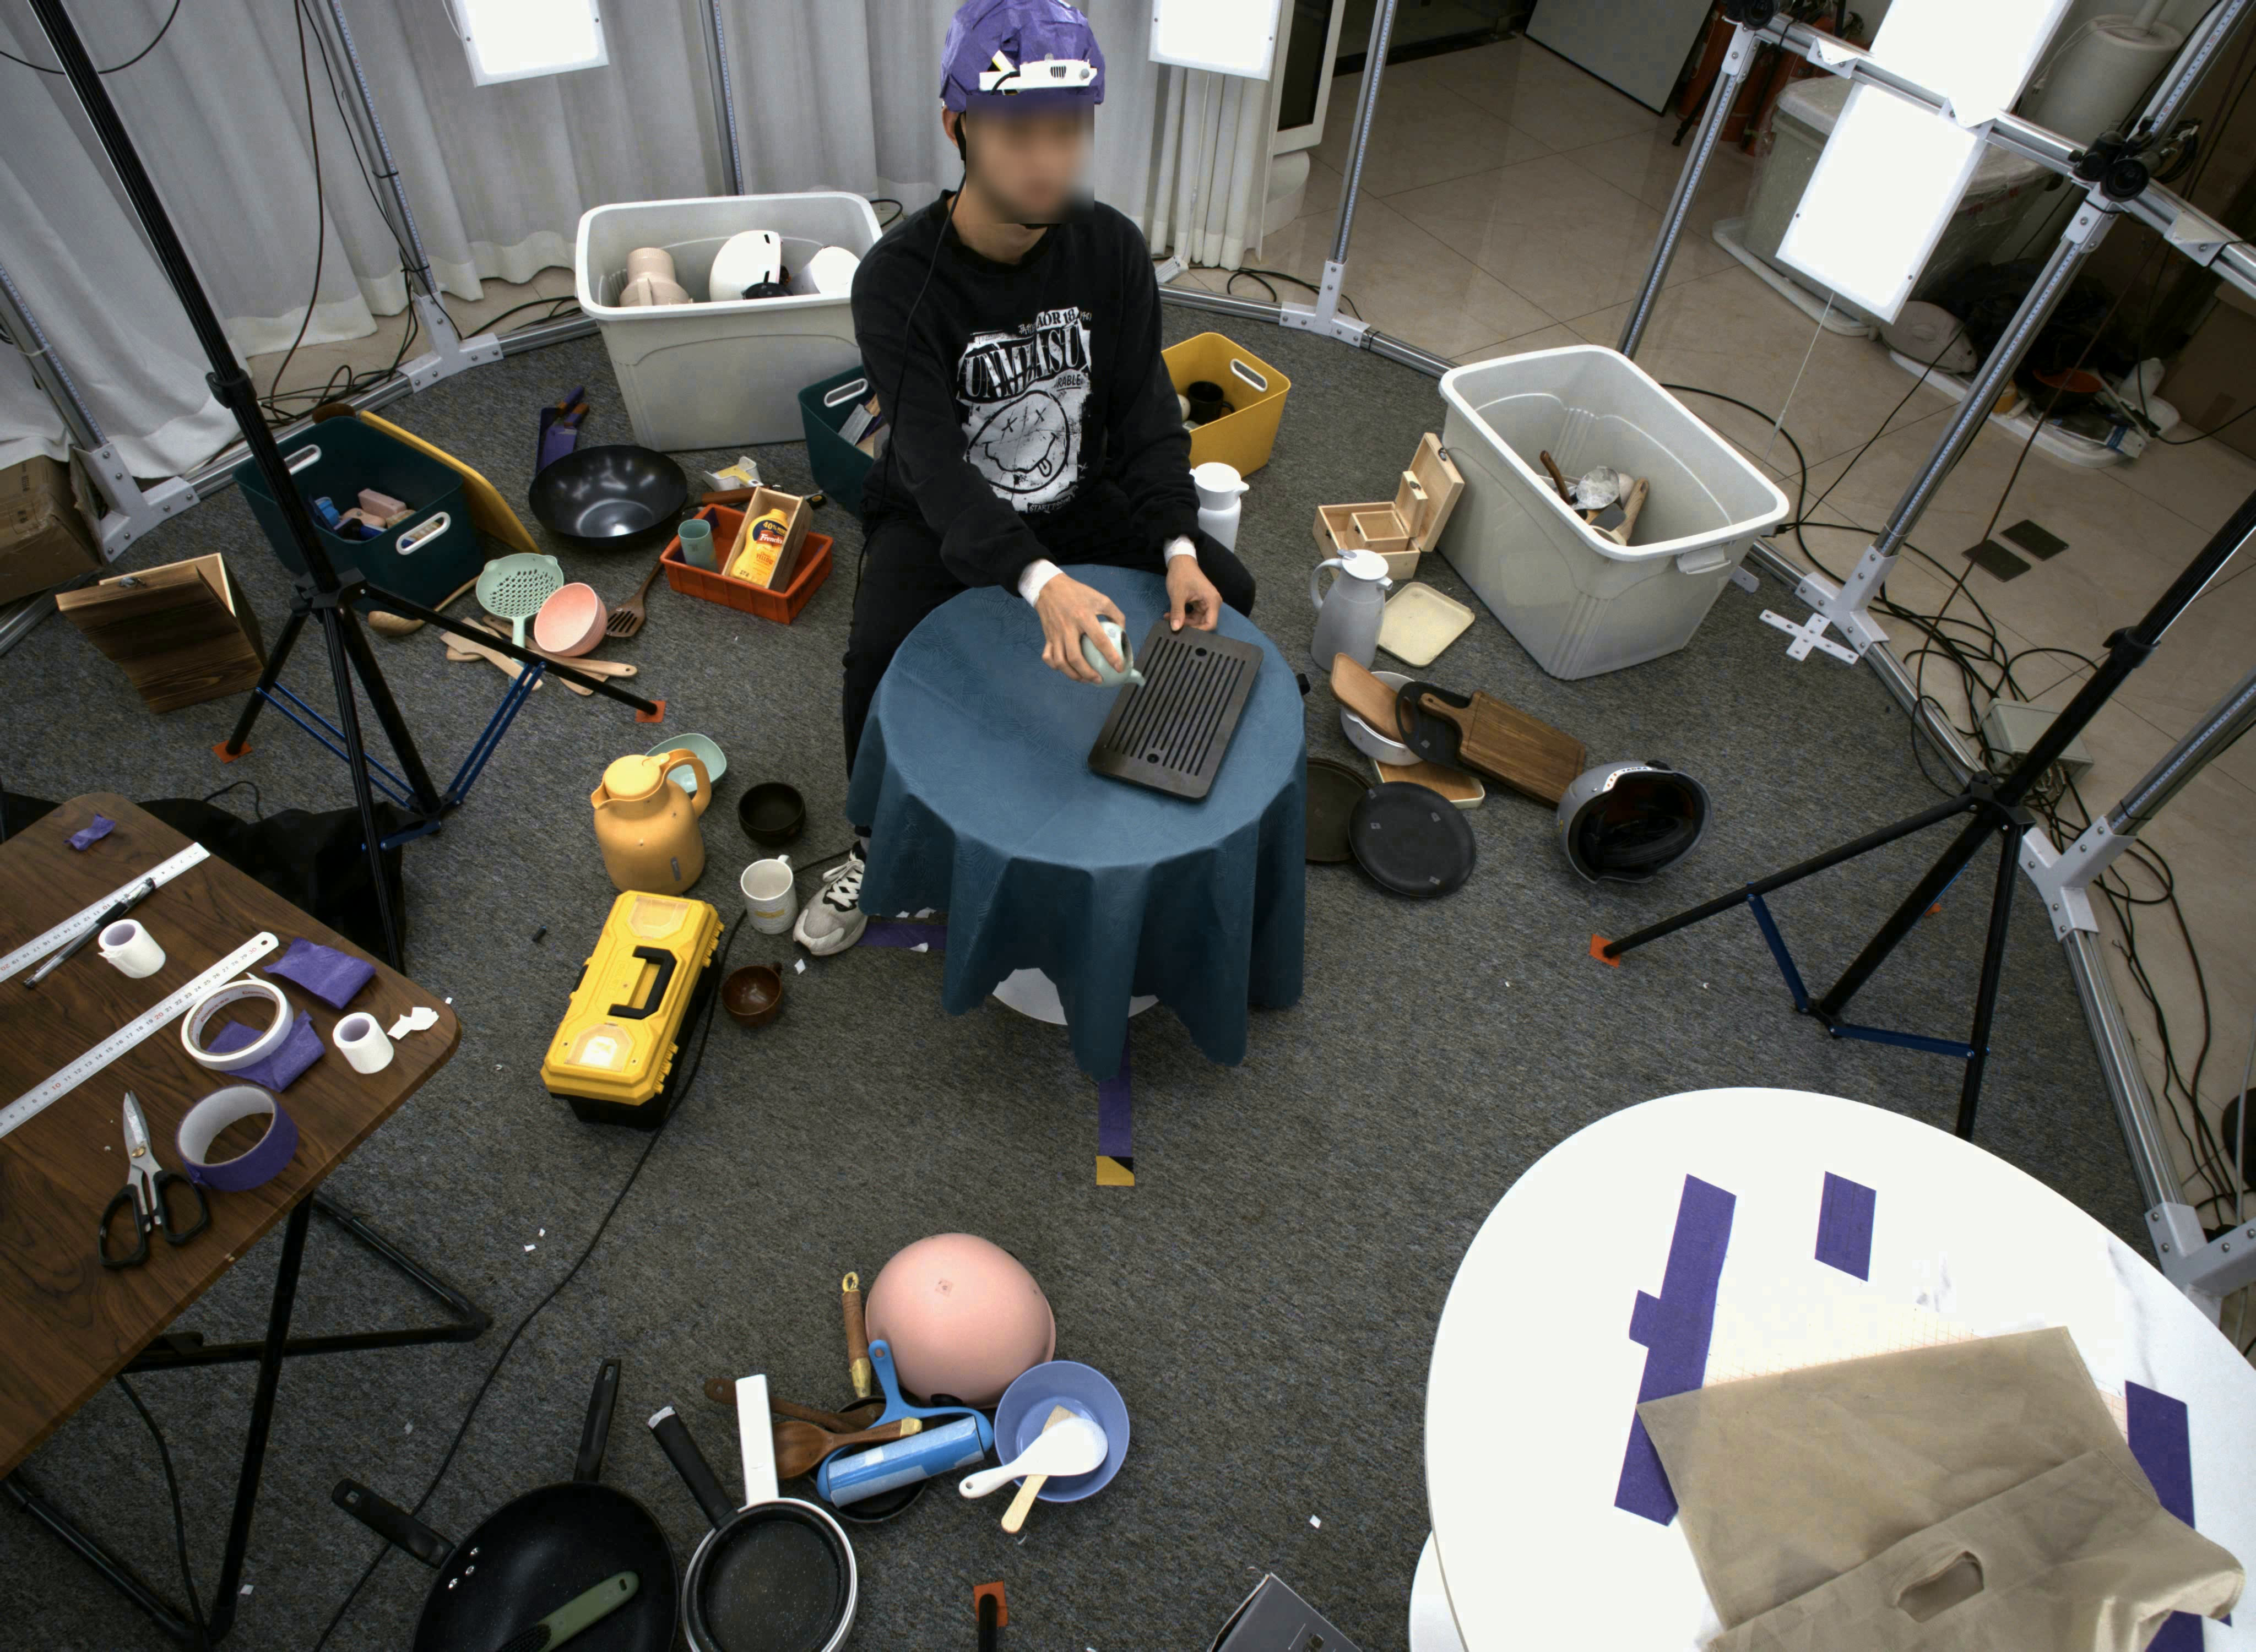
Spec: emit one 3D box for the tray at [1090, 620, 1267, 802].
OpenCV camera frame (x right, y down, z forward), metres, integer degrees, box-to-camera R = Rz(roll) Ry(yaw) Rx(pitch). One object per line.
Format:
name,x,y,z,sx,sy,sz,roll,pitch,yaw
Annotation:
tray,0.075,-0.166,1.797,0.171,0.018,0.312,16,53,11

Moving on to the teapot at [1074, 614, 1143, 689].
teapot,-0.030,-0.225,1.690,0.075,0.140,0.090,-8,50,11
